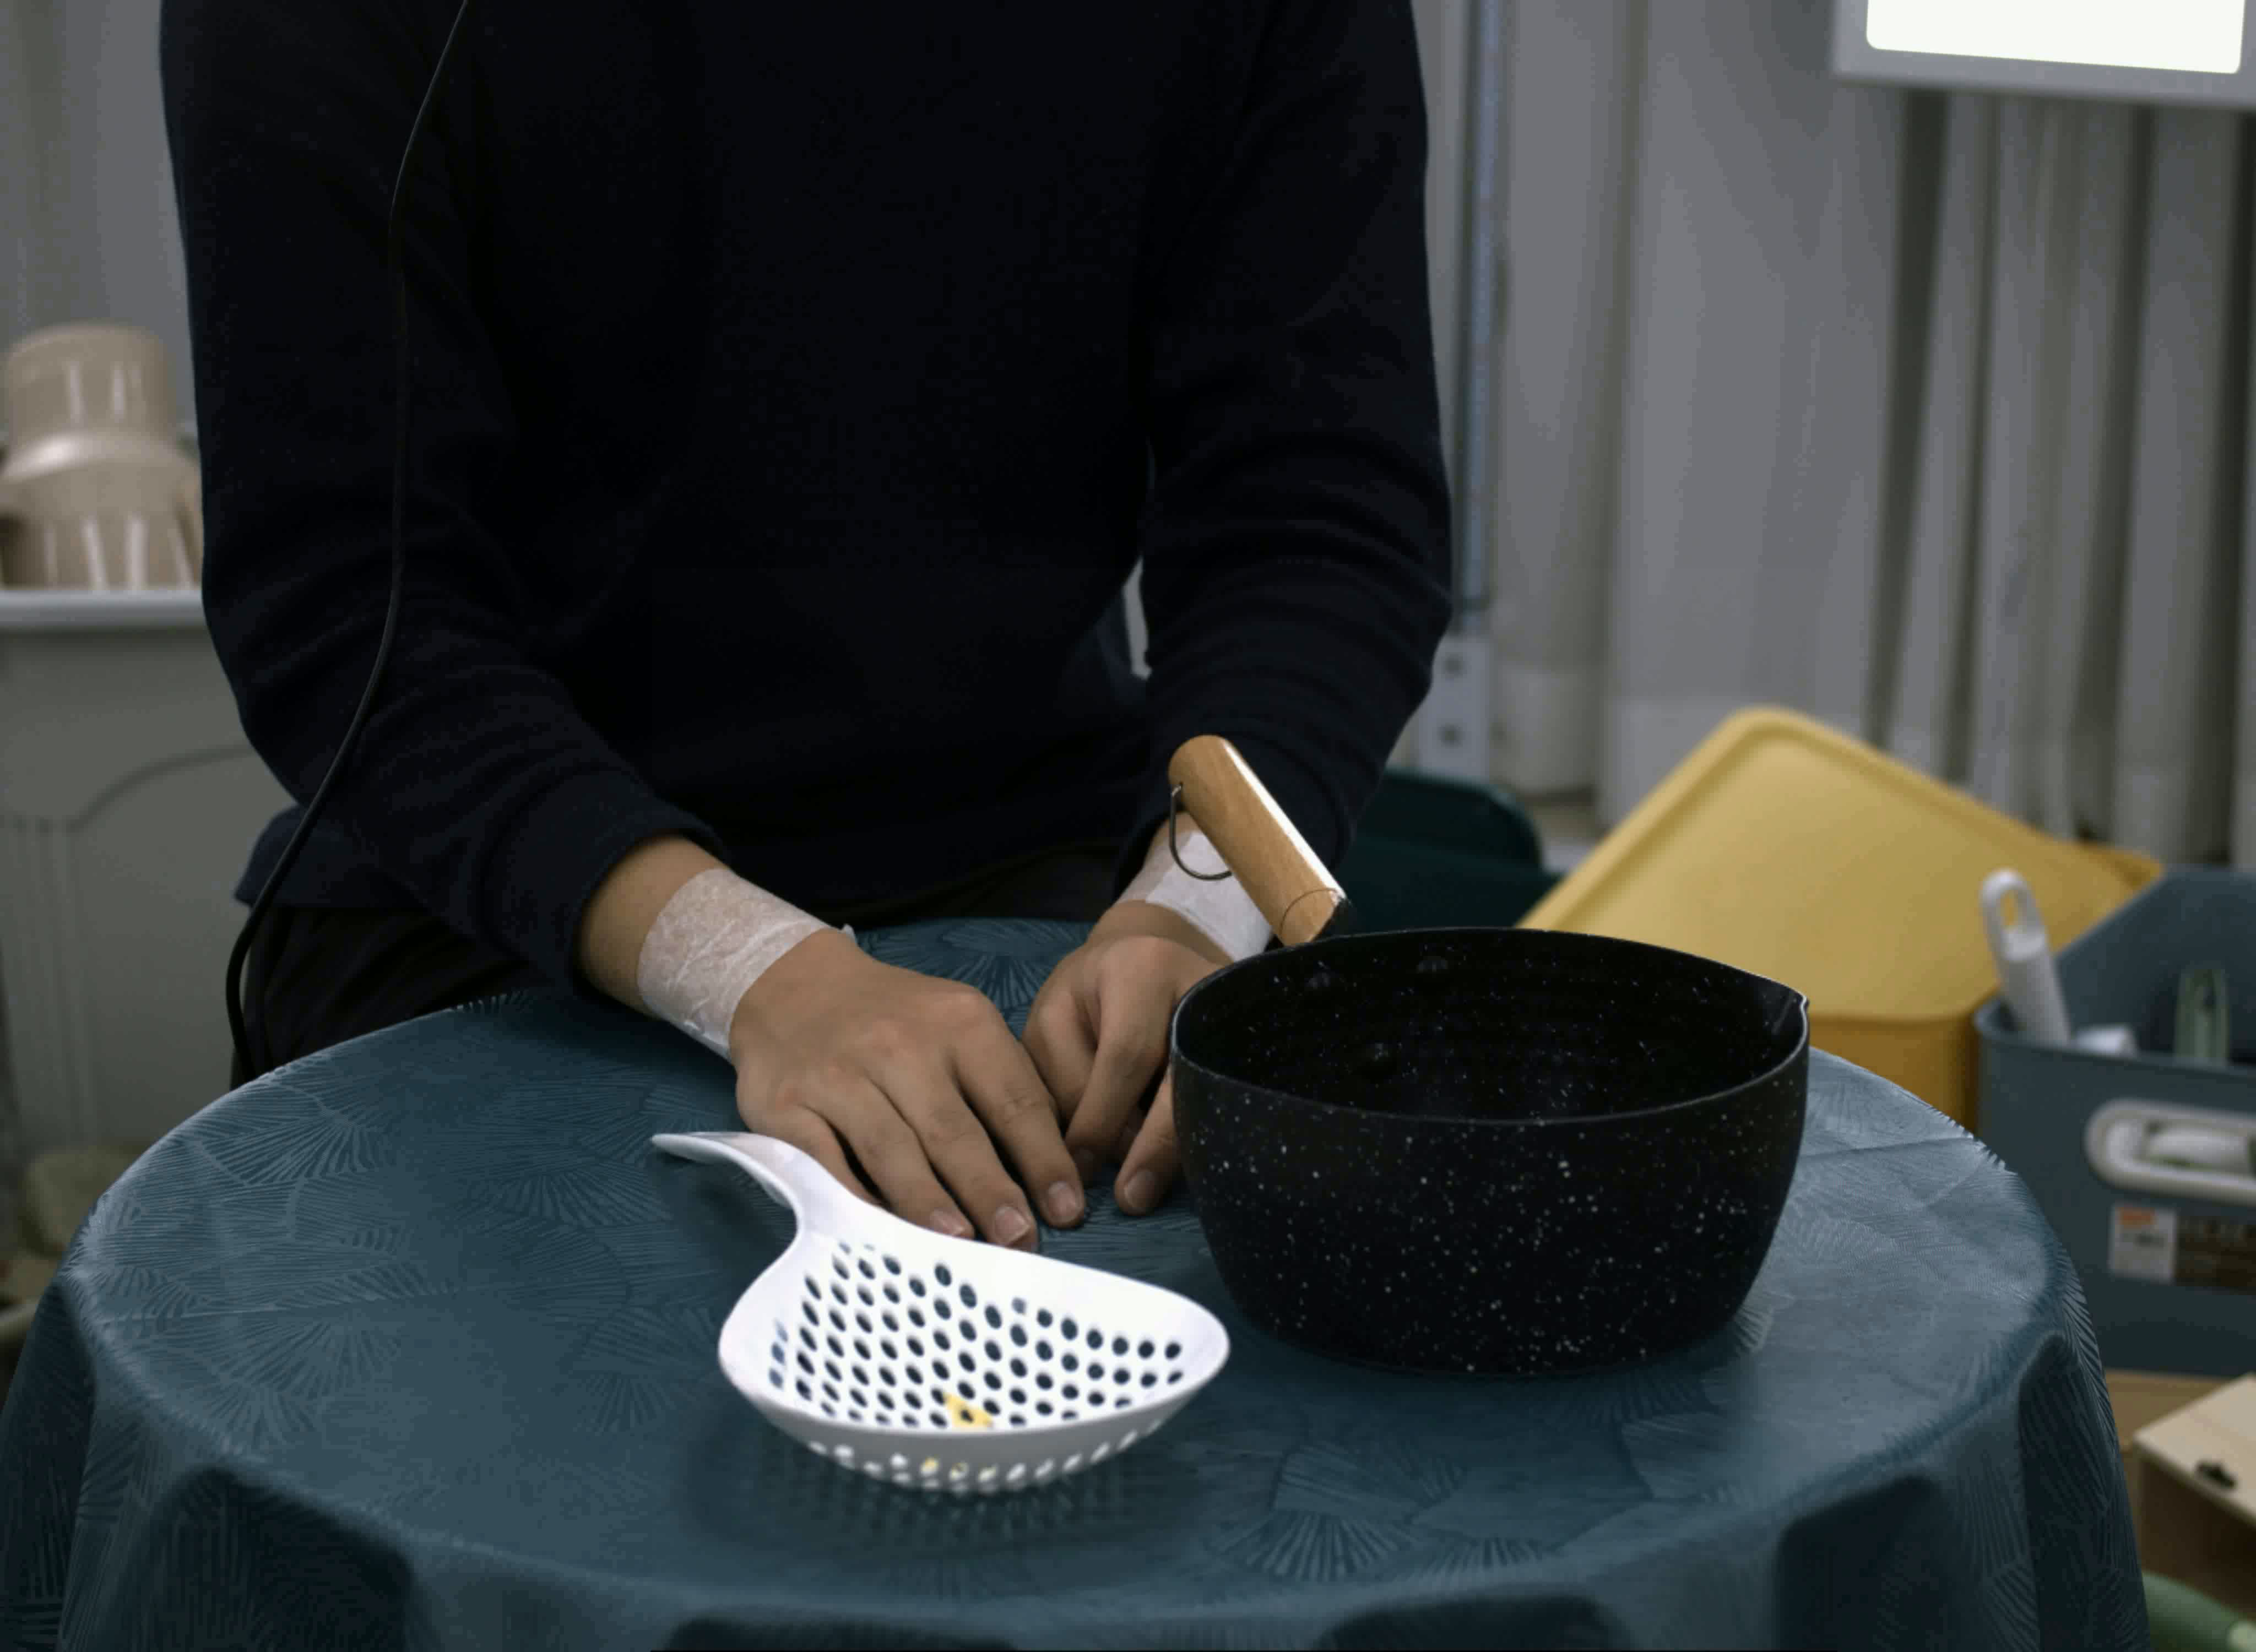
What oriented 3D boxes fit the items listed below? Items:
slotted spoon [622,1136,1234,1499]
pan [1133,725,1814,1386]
[{"bbox_3d":[-0.081,0.124,1.496,0.137,0.051,0.344,-8,19,-21],"label":"slotted spoon"},{"bbox_3d":[0.077,0.064,1.596,0.208,0.109,0.339,-7,18,-19],"label":"pan"}]
